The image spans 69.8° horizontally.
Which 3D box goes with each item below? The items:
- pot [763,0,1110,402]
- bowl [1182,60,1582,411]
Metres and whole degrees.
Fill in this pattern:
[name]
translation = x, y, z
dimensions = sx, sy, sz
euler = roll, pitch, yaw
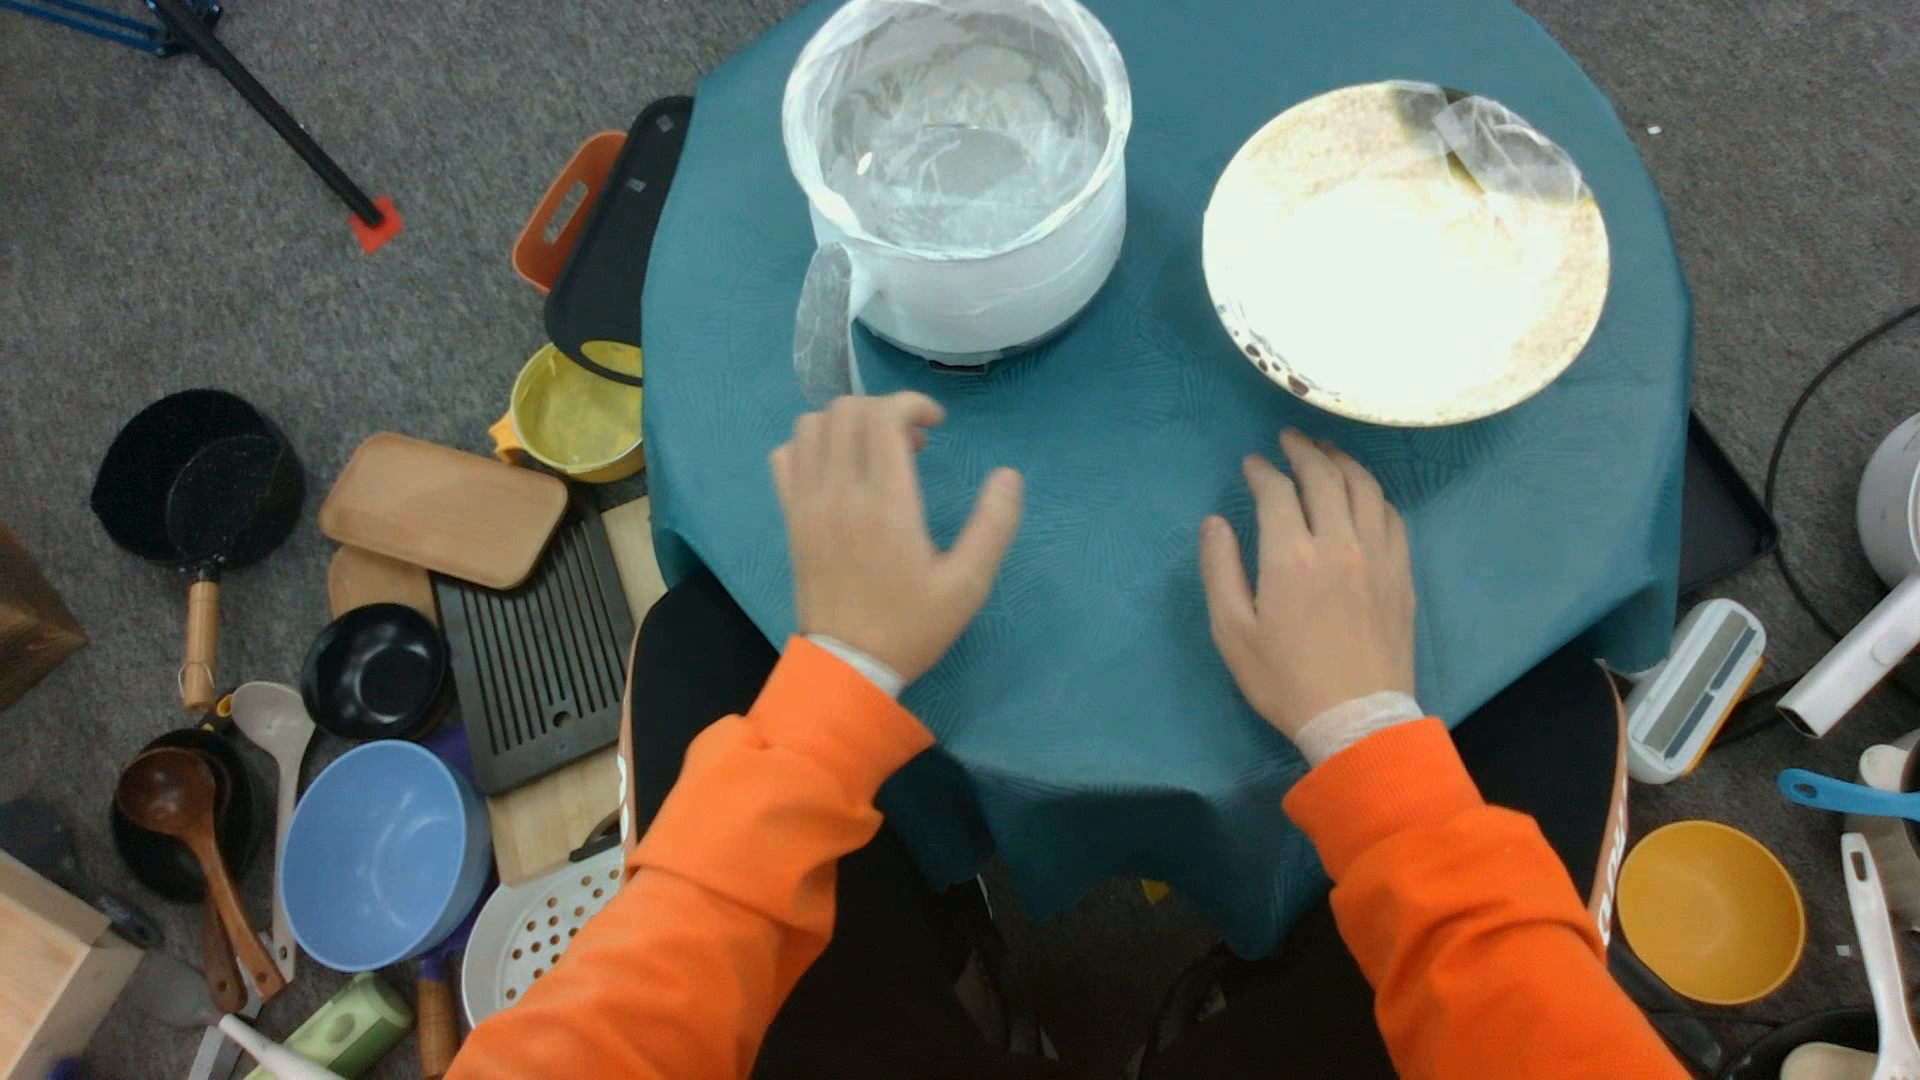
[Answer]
[pot]
translation = -0.023, -0.185, 0.747
dimensions = 0.179, 0.136, 0.234
euler = 31, 76, 14
[bowl]
translation = 0.221, -0.153, 0.751
dimensions = 0.204, 0.078, 0.204
euler = -1, 73, 4
